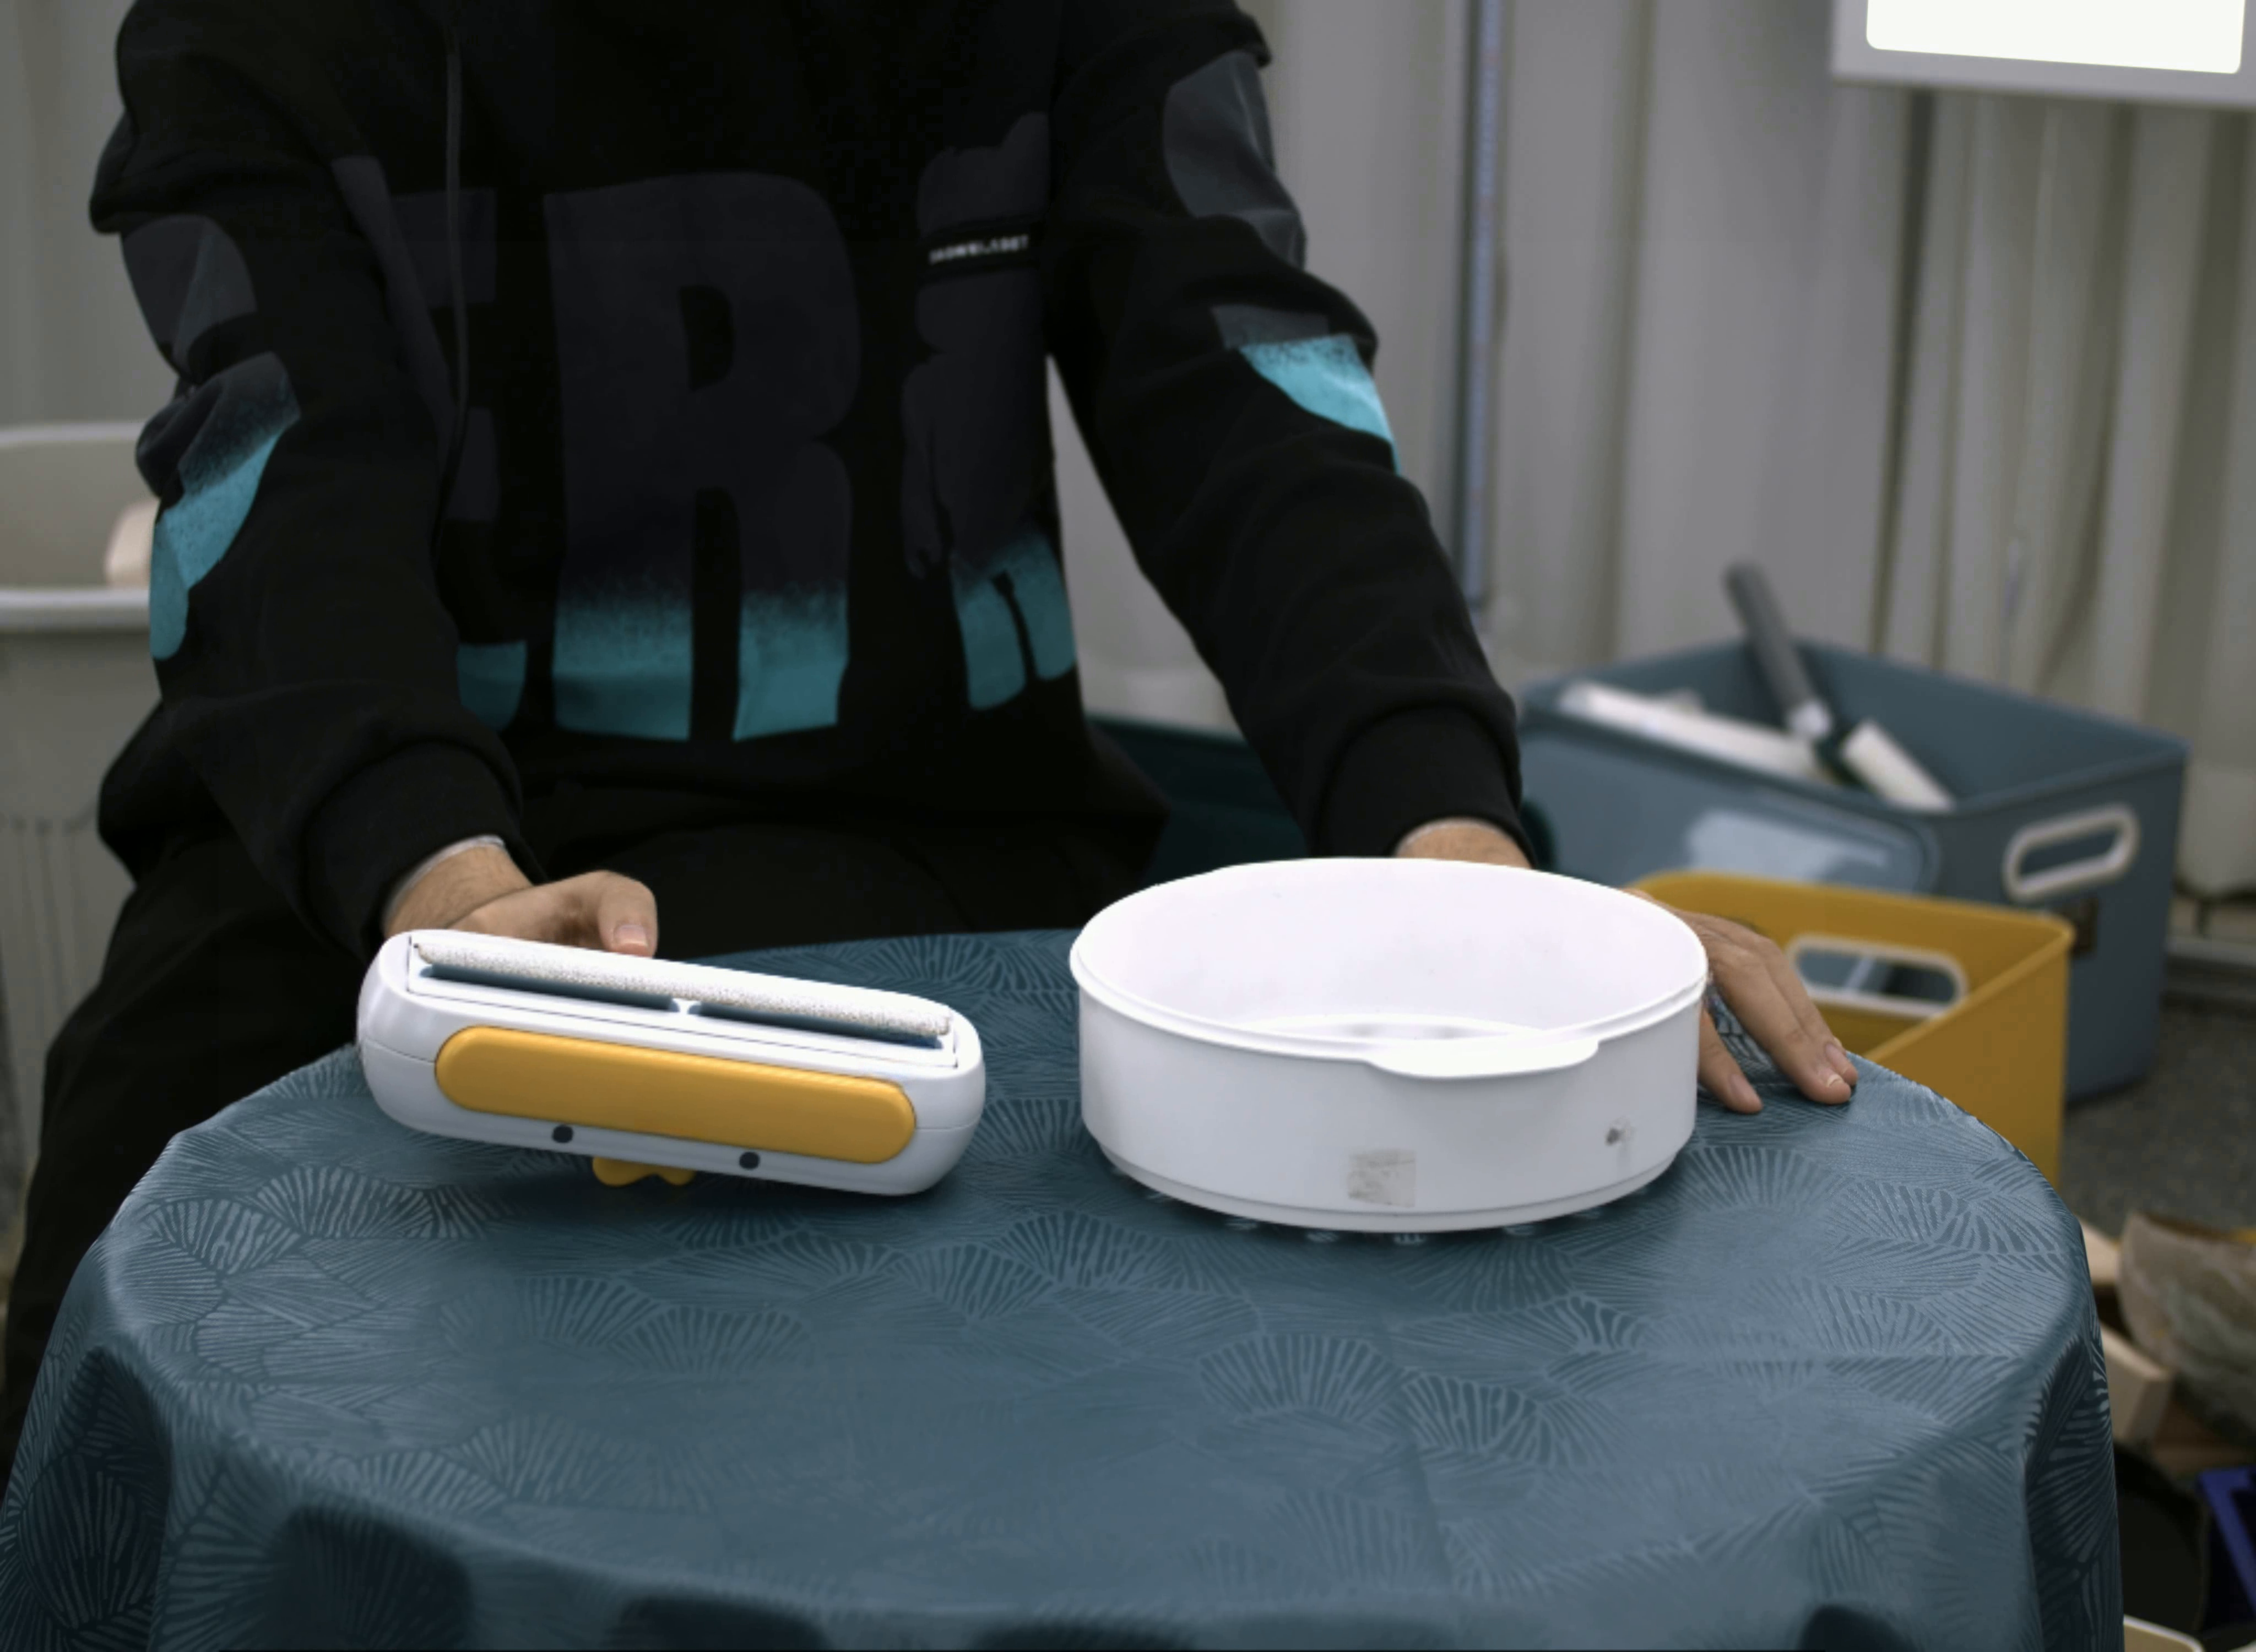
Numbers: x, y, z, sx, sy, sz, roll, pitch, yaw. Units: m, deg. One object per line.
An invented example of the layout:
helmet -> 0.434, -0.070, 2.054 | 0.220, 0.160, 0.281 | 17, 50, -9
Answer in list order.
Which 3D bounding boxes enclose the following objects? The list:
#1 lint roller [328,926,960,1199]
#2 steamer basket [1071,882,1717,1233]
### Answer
lint roller -> -0.151, 0.065, 1.662 | 0.192, 0.074, 0.191 | 5, 13, -6
steamer basket -> 0.083, 0.072, 1.648 | 0.202, 0.070, 0.228 | -2, 14, -14
